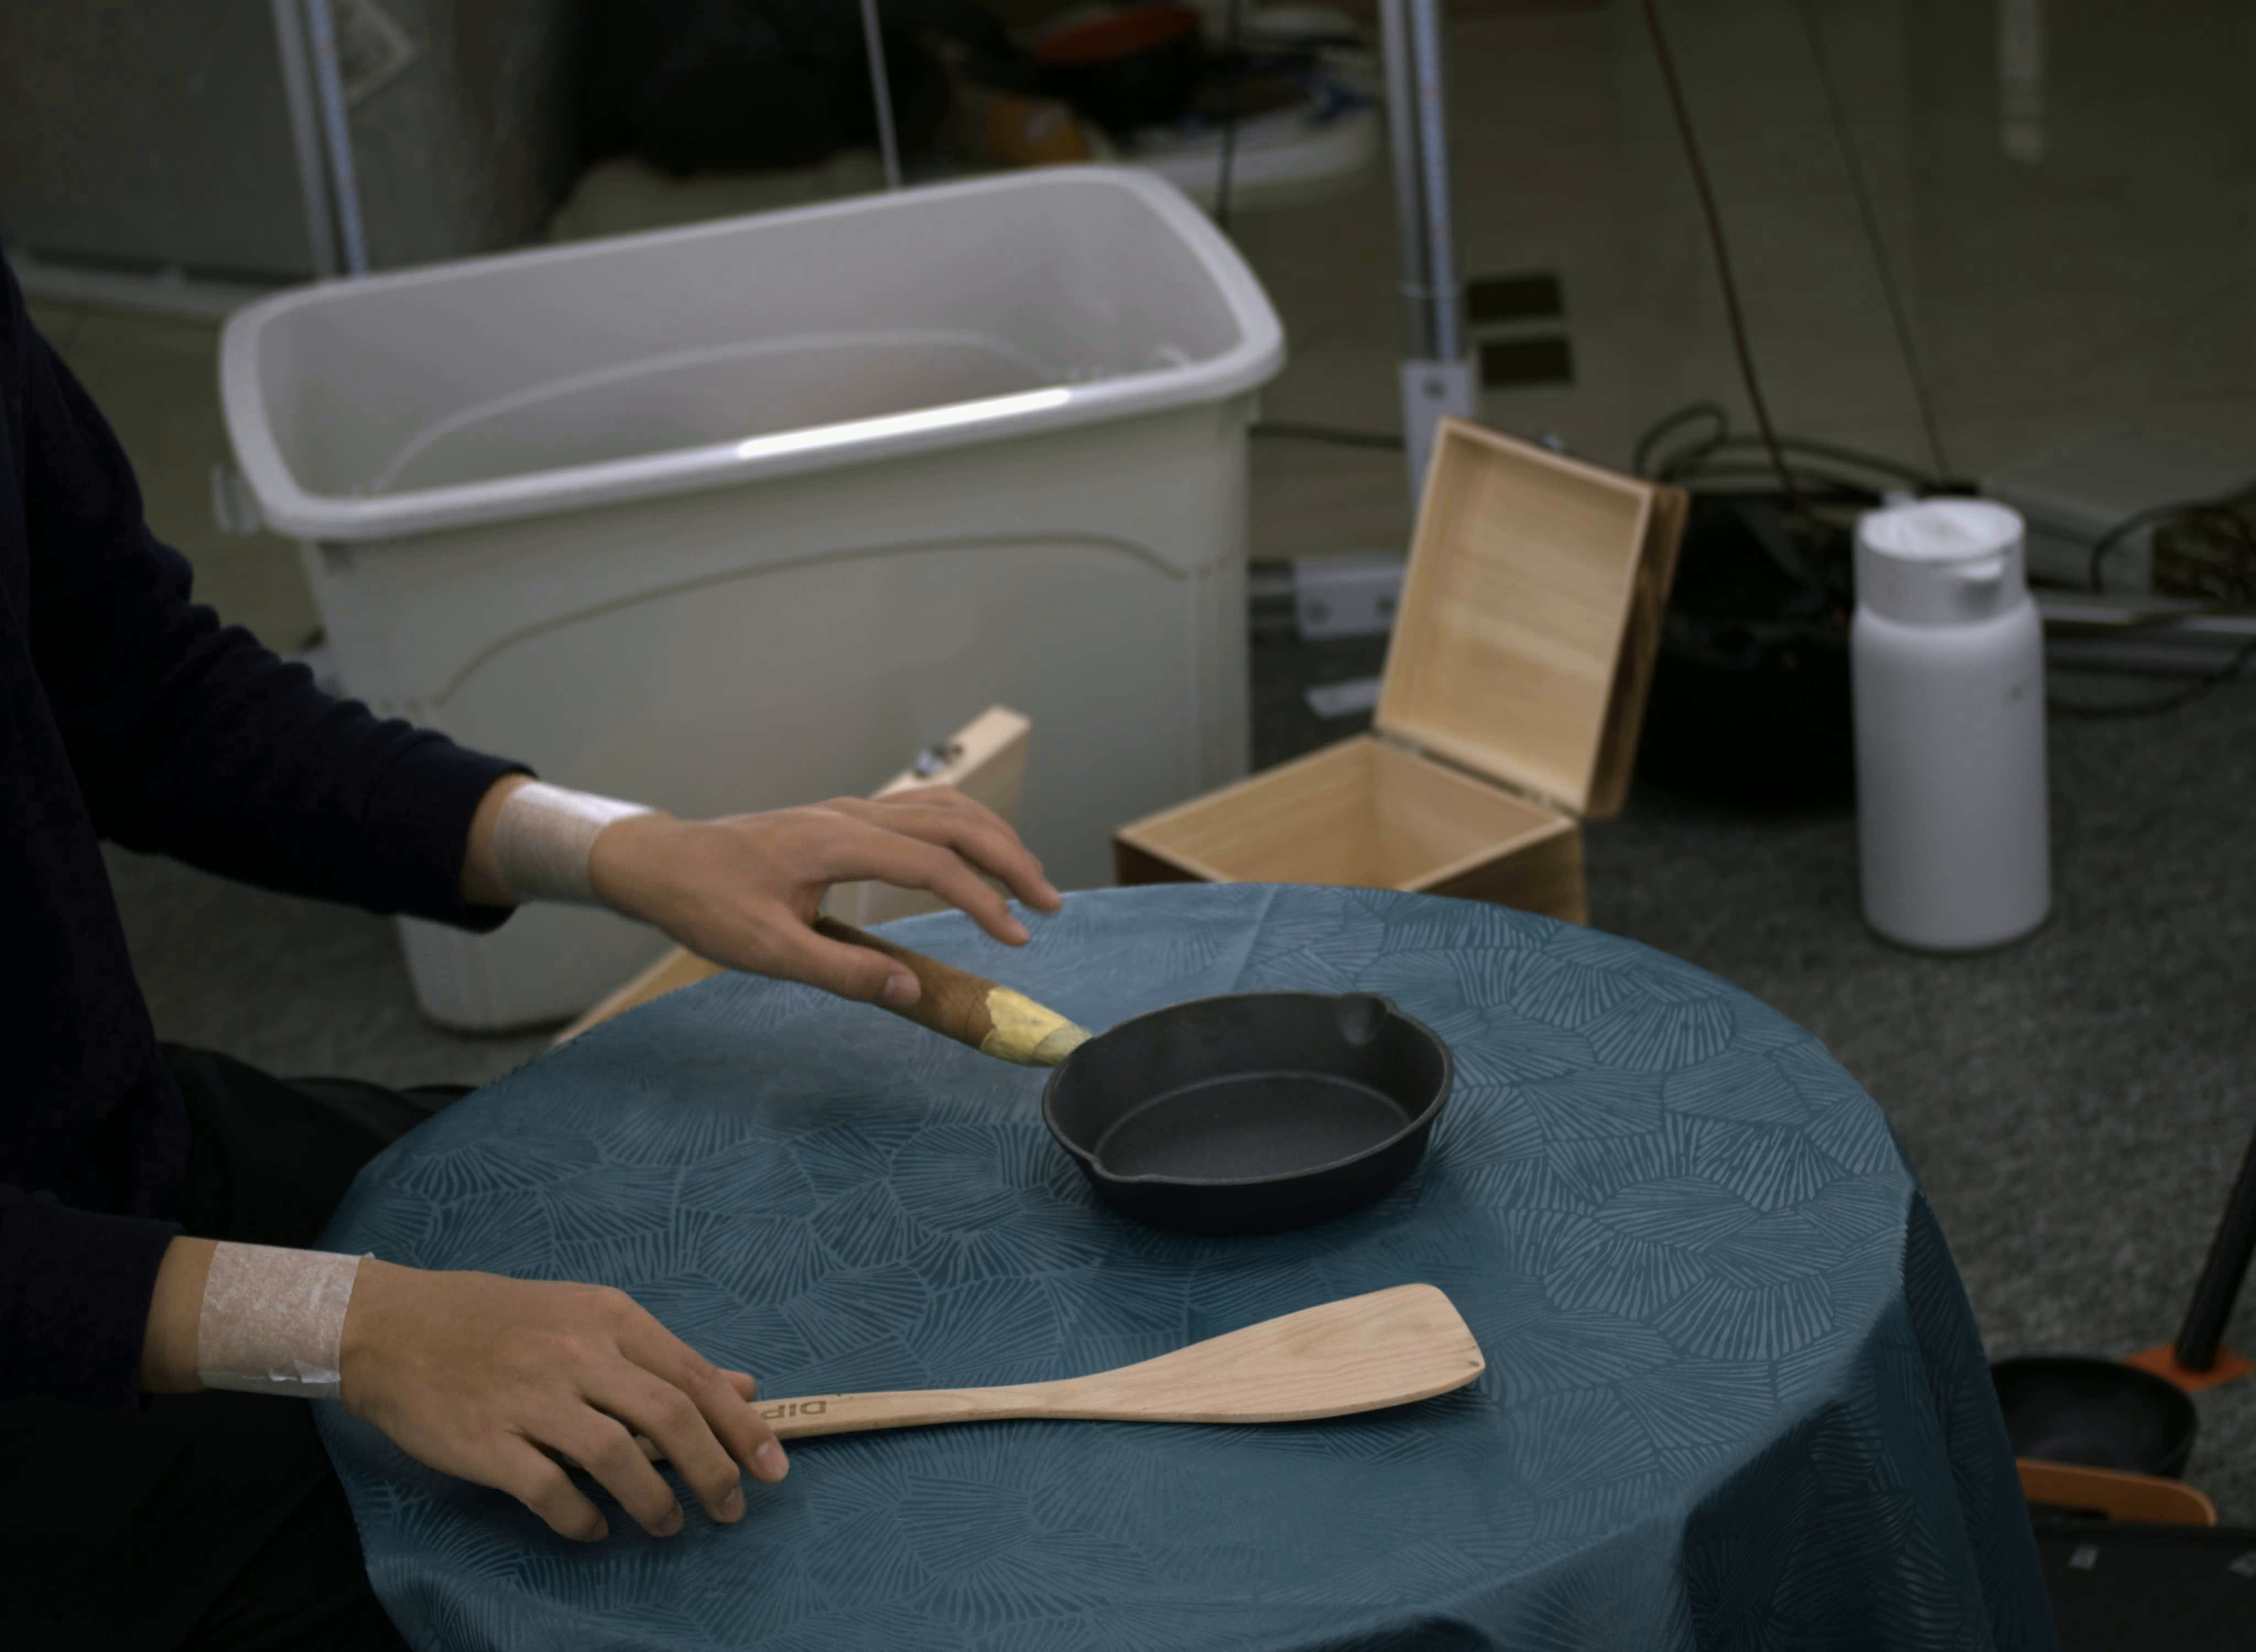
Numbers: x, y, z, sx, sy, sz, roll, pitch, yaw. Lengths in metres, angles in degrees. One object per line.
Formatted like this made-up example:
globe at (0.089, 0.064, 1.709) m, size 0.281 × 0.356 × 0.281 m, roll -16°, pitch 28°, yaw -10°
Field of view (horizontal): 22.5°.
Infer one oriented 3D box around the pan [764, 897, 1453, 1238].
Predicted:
pan at (-0.018, 0.087, 2.203) m, size 0.322 × 0.050 × 0.167 m, roll 17°, pitch 34°, yaw 38°

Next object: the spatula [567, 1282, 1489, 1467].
spatula at (-0.037, 0.199, 2.009) m, size 0.327 × 0.017 × 0.079 m, roll -6°, pitch 23°, yaw 1°
